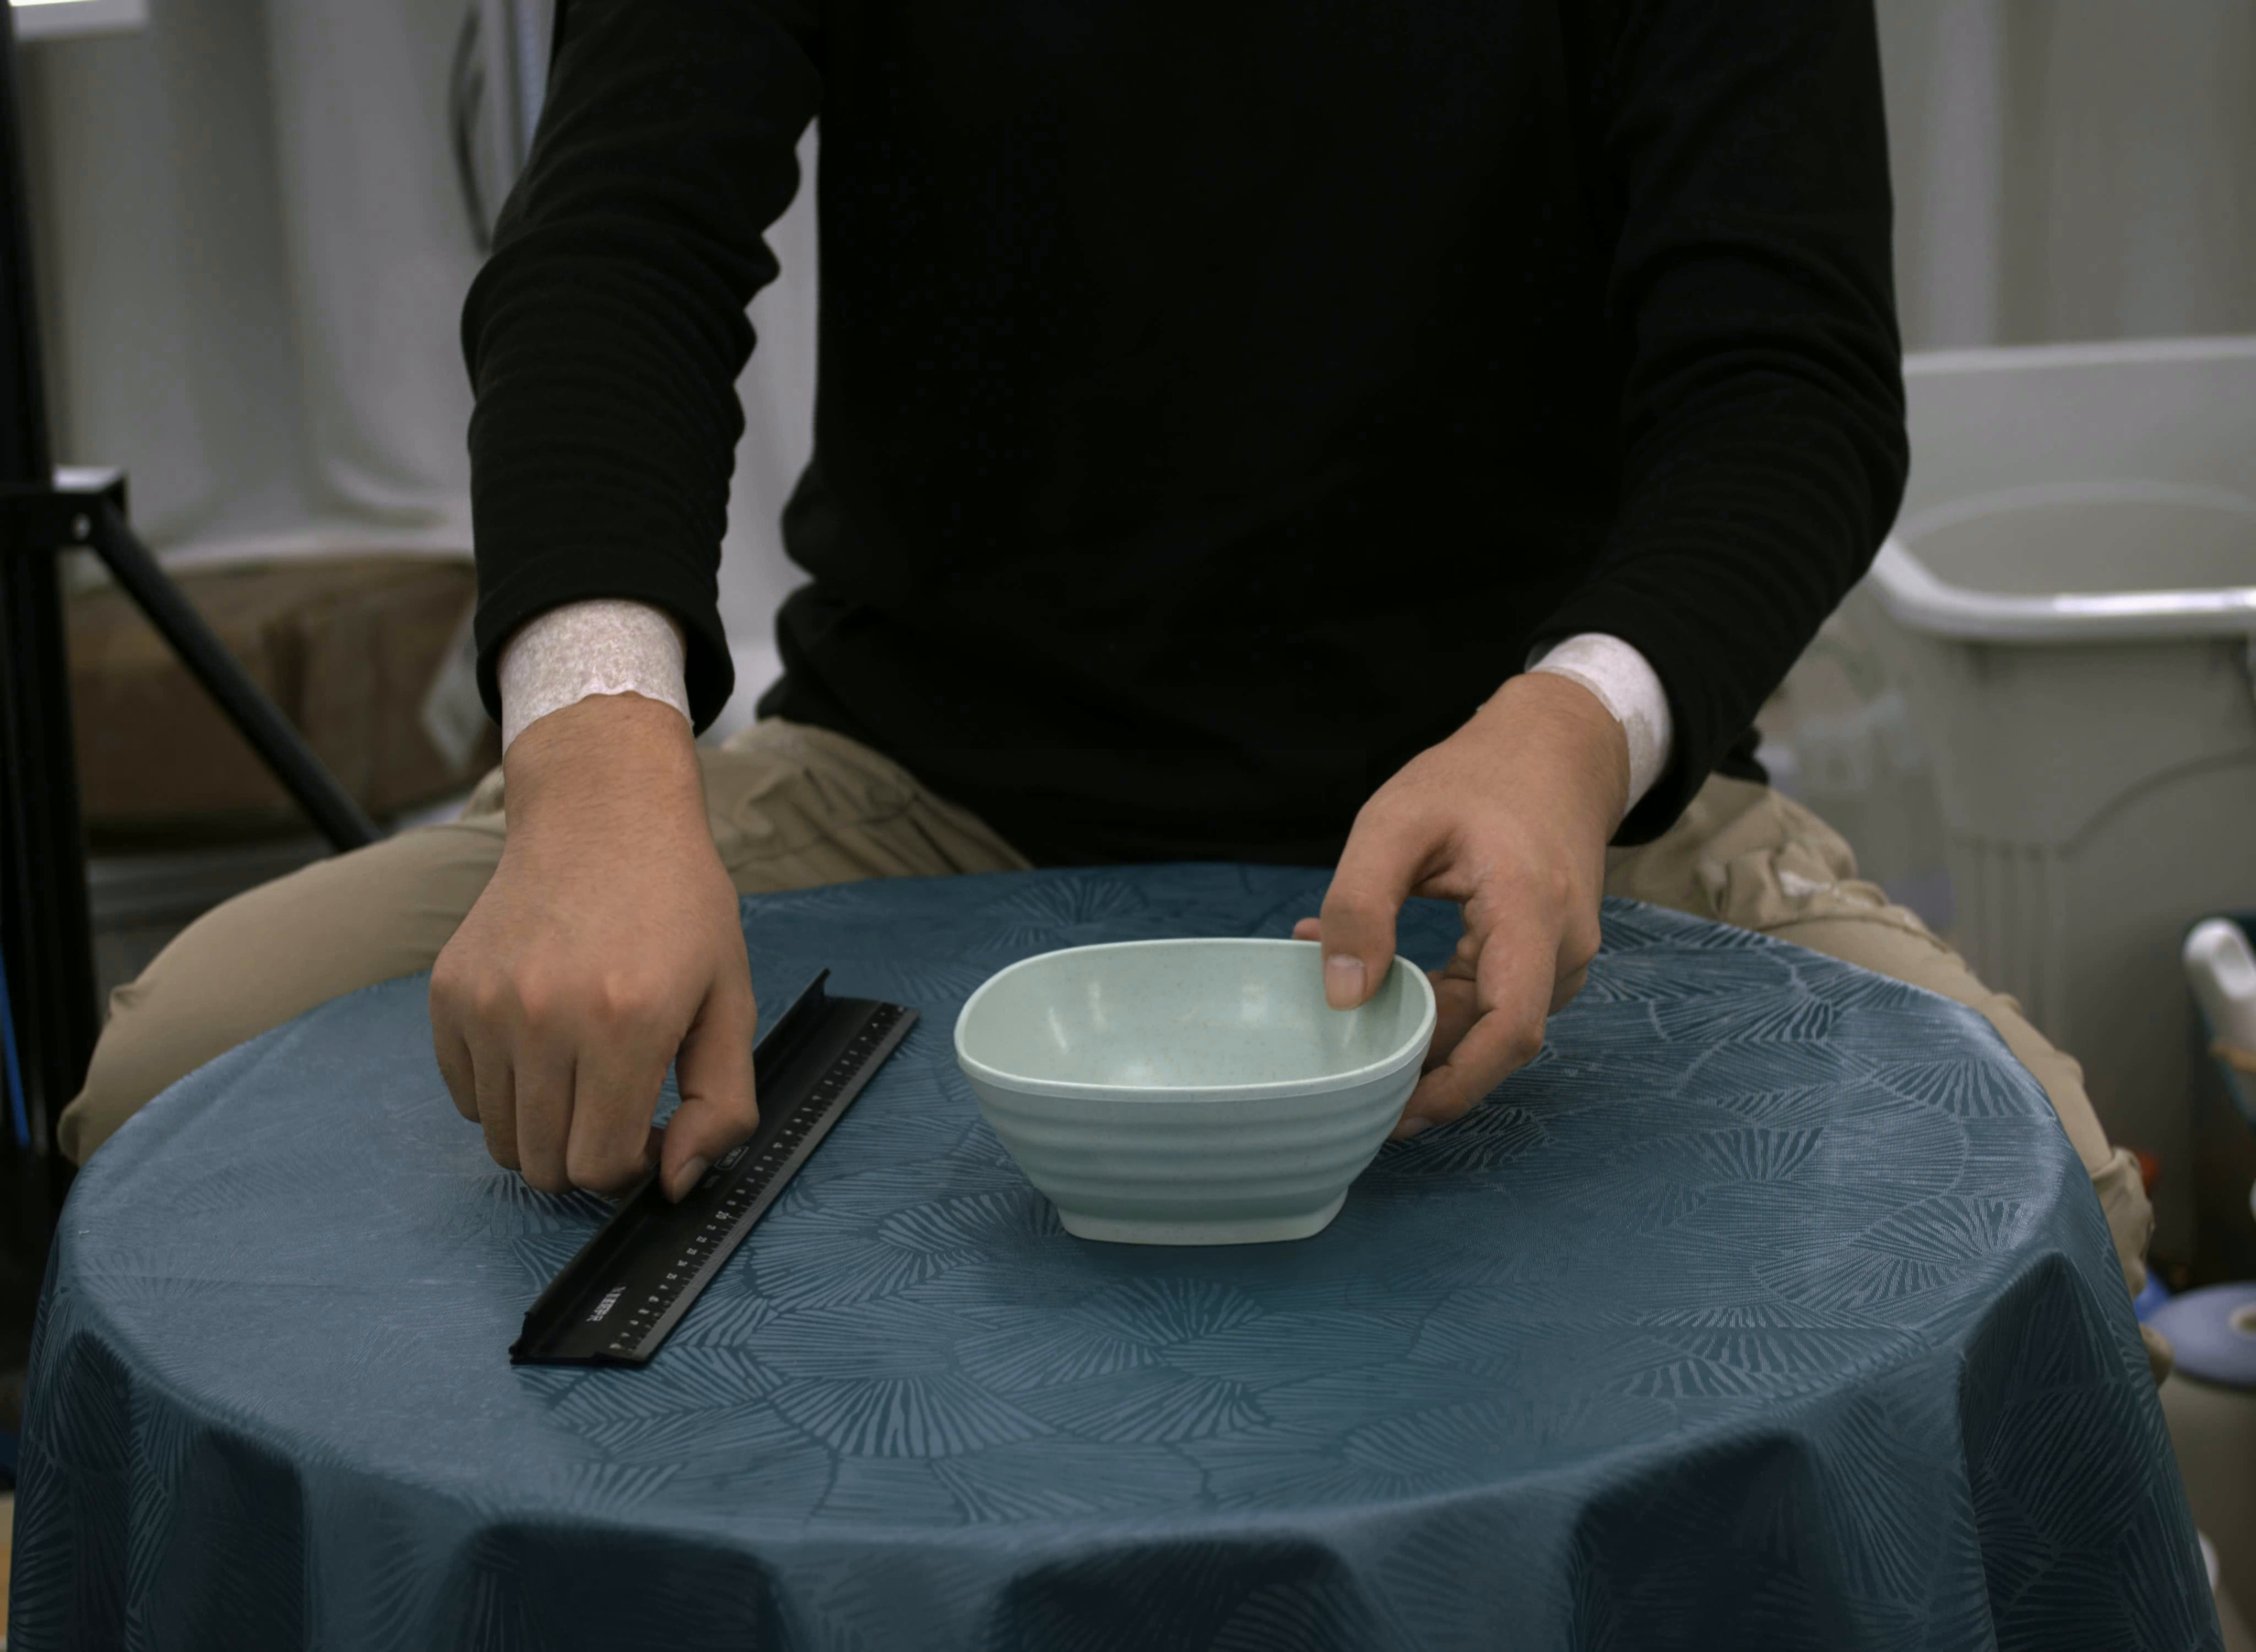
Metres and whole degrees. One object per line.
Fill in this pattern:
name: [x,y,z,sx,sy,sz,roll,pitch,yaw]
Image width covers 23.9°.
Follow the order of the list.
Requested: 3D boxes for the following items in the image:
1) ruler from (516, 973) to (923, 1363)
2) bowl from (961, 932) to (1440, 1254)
ruler: [-0.117,0.097,1.586,0.039,0.017,0.310,4,17,12]
bowl: [0.023,0.081,1.544,0.151,0.058,0.152,-4,18,0]
